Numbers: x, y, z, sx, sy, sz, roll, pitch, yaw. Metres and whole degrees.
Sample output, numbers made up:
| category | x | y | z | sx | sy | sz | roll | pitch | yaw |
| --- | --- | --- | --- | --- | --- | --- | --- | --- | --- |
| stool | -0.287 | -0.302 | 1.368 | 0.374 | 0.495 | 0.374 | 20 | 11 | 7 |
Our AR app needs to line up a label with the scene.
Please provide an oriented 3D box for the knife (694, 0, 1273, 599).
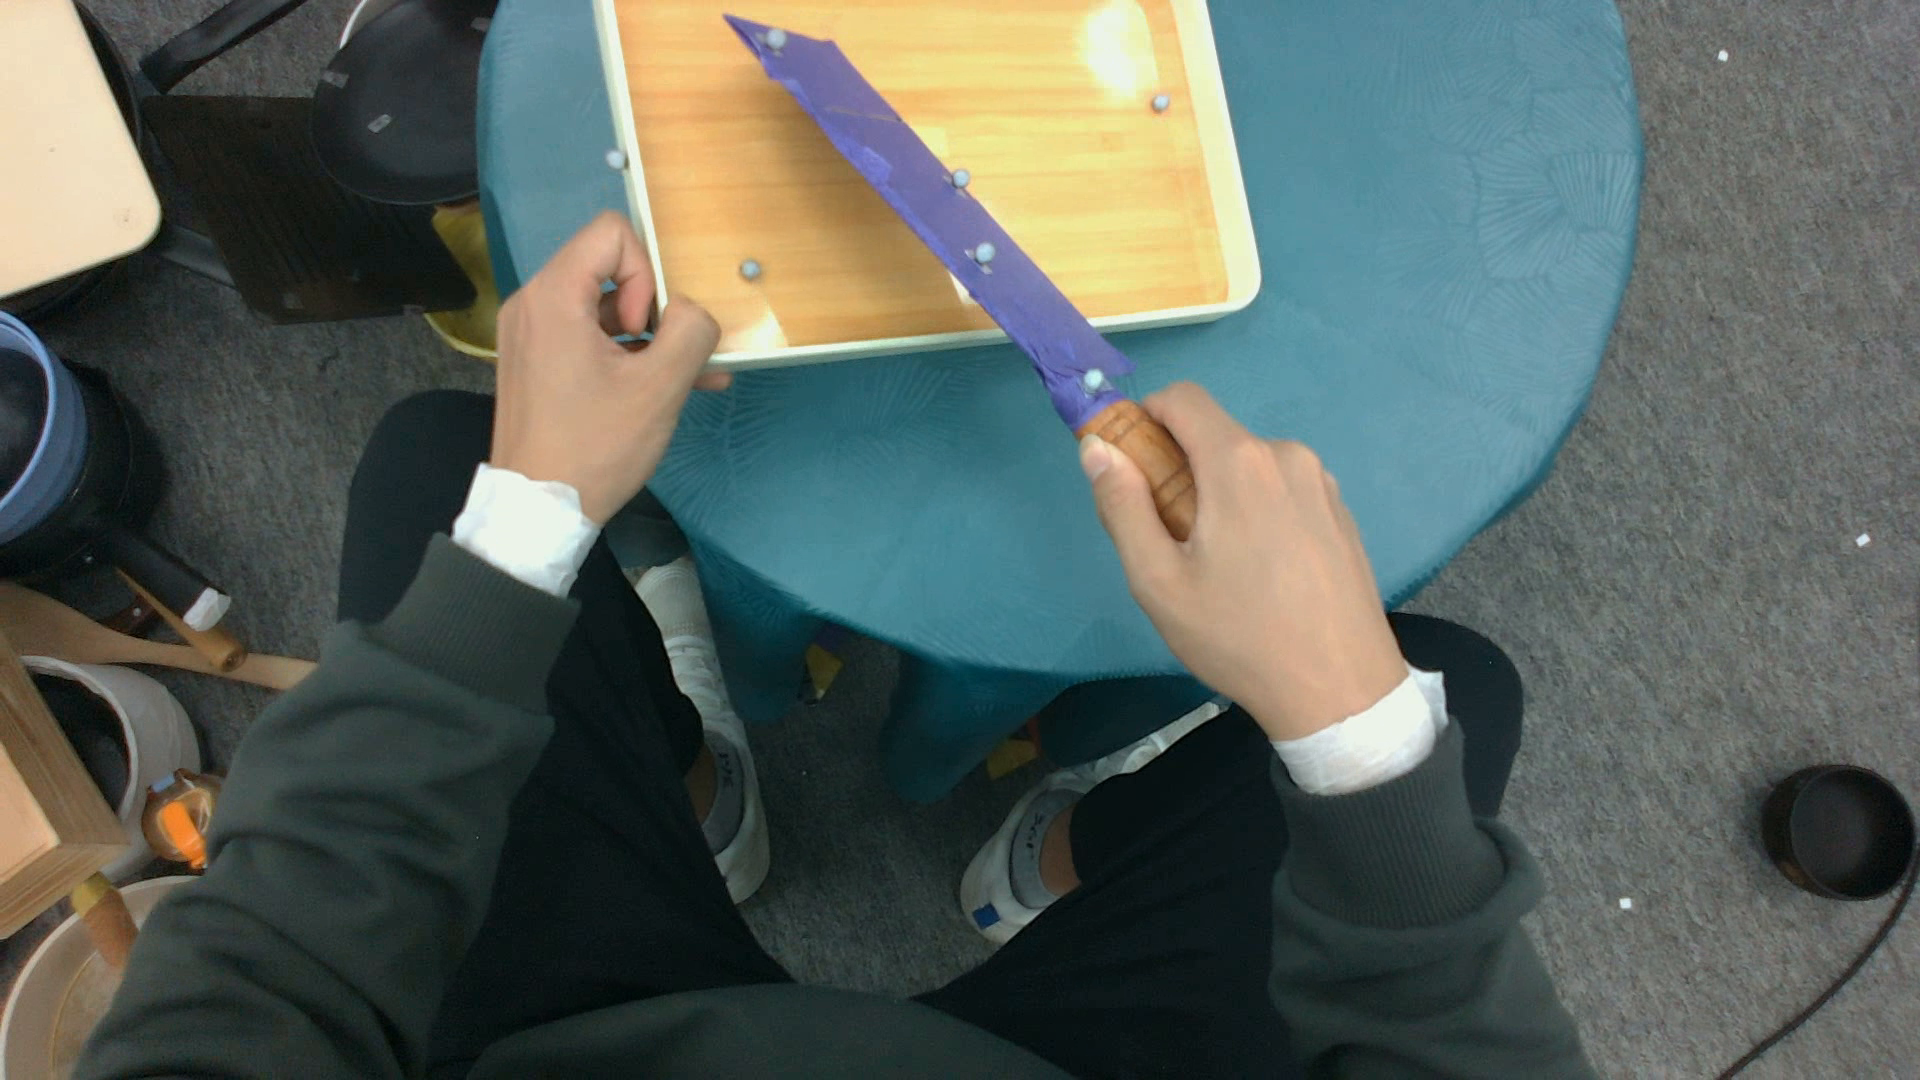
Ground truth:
| category | x | y | z | sx | sy | sz | roll | pitch | yaw |
| --- | --- | --- | --- | --- | --- | --- | --- | --- | --- |
| knife | 0.019 | -0.110 | 0.562 | 0.032 | 0.104 | 0.315 | -44 | 83 | 27 |

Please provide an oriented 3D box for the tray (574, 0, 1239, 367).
| category | x | y | z | sx | sy | sz | roll | pitch | yaw |
| --- | --- | --- | --- | --- | --- | --- | --- | --- | --- |
| tray | -0.014 | -0.188 | 0.637 | 0.301 | 0.027 | 0.191 | -10 | 87 | -25 |
